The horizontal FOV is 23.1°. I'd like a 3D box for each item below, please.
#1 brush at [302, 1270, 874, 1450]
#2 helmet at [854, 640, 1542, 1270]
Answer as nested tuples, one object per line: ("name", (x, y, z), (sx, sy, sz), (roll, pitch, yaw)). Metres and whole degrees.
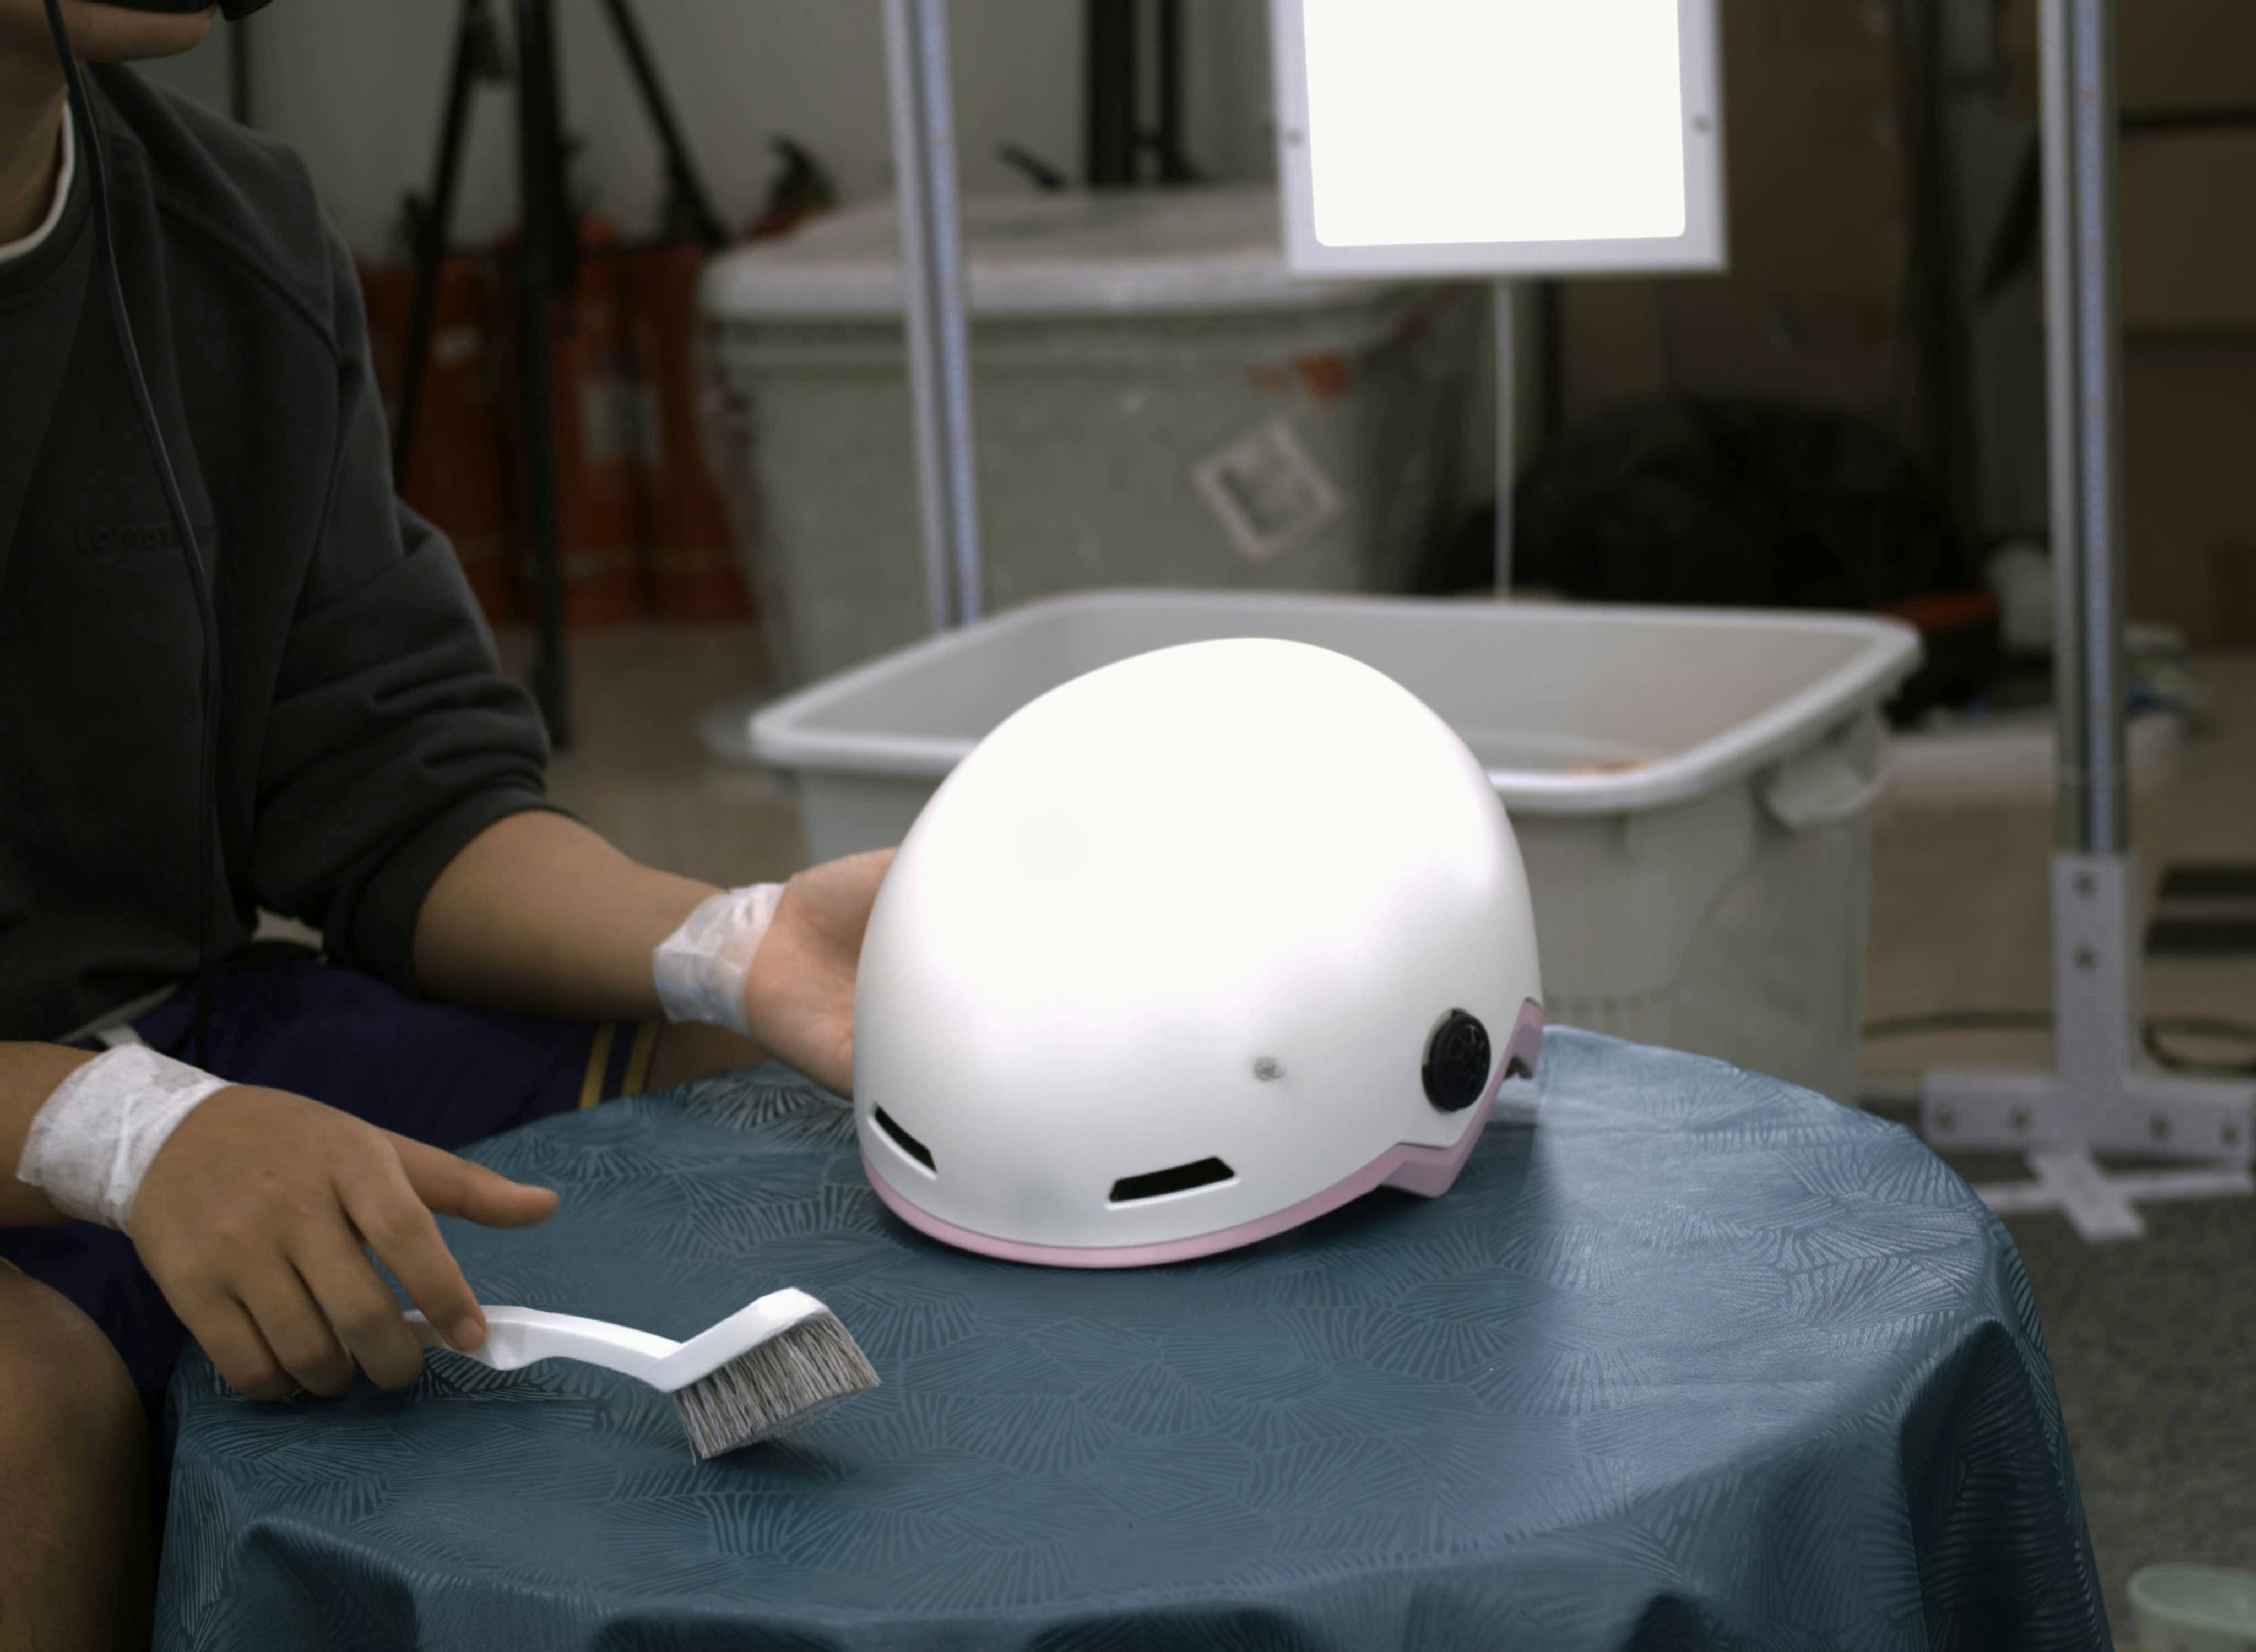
("brush", (-0.173, 0.172, 1.725), (0.249, 0.050, 0.033), (-9, 2, 43))
("helmet", (0.024, 0.030, 1.907), (0.241, 0.168, 0.262), (8, 22, 30))
